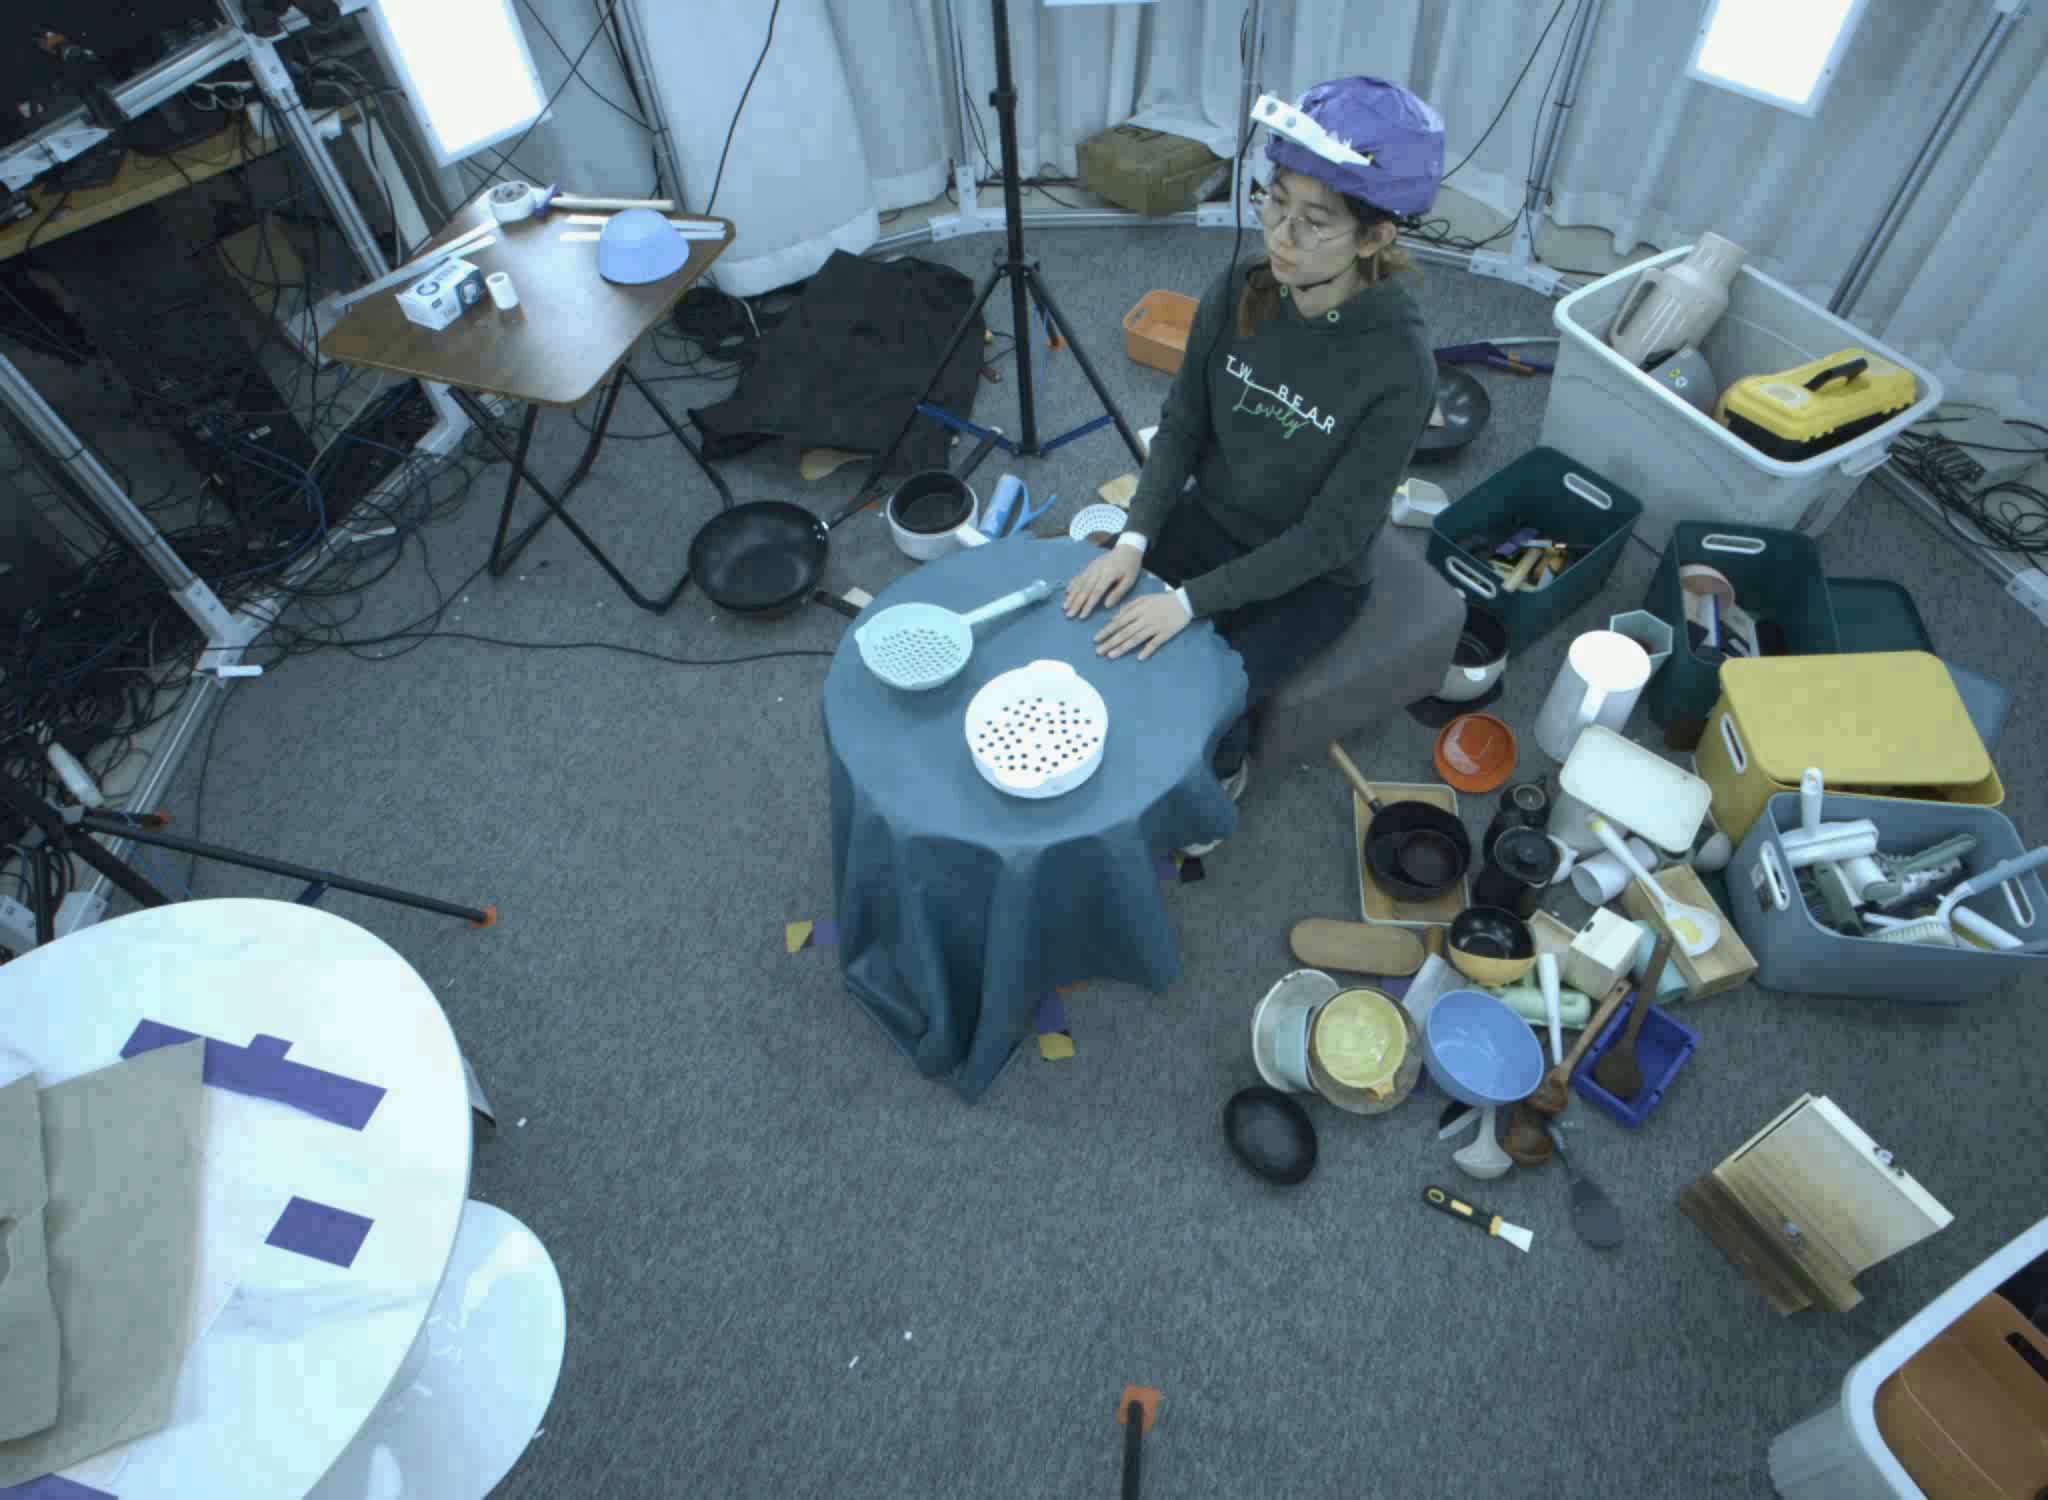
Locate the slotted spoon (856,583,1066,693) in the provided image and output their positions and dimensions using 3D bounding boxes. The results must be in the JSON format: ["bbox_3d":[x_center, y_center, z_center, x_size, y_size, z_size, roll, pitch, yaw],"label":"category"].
[{"bbox_3d":[-0.083,-0.192,1.895,0.362,0.076,0.166,-32,60,-19],"label":"slotted spoon"}]

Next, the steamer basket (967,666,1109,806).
[{"bbox_3d":[0.021,-0.014,1.767,0.201,0.070,0.229,9,56,7],"label":"steamer basket"}]
